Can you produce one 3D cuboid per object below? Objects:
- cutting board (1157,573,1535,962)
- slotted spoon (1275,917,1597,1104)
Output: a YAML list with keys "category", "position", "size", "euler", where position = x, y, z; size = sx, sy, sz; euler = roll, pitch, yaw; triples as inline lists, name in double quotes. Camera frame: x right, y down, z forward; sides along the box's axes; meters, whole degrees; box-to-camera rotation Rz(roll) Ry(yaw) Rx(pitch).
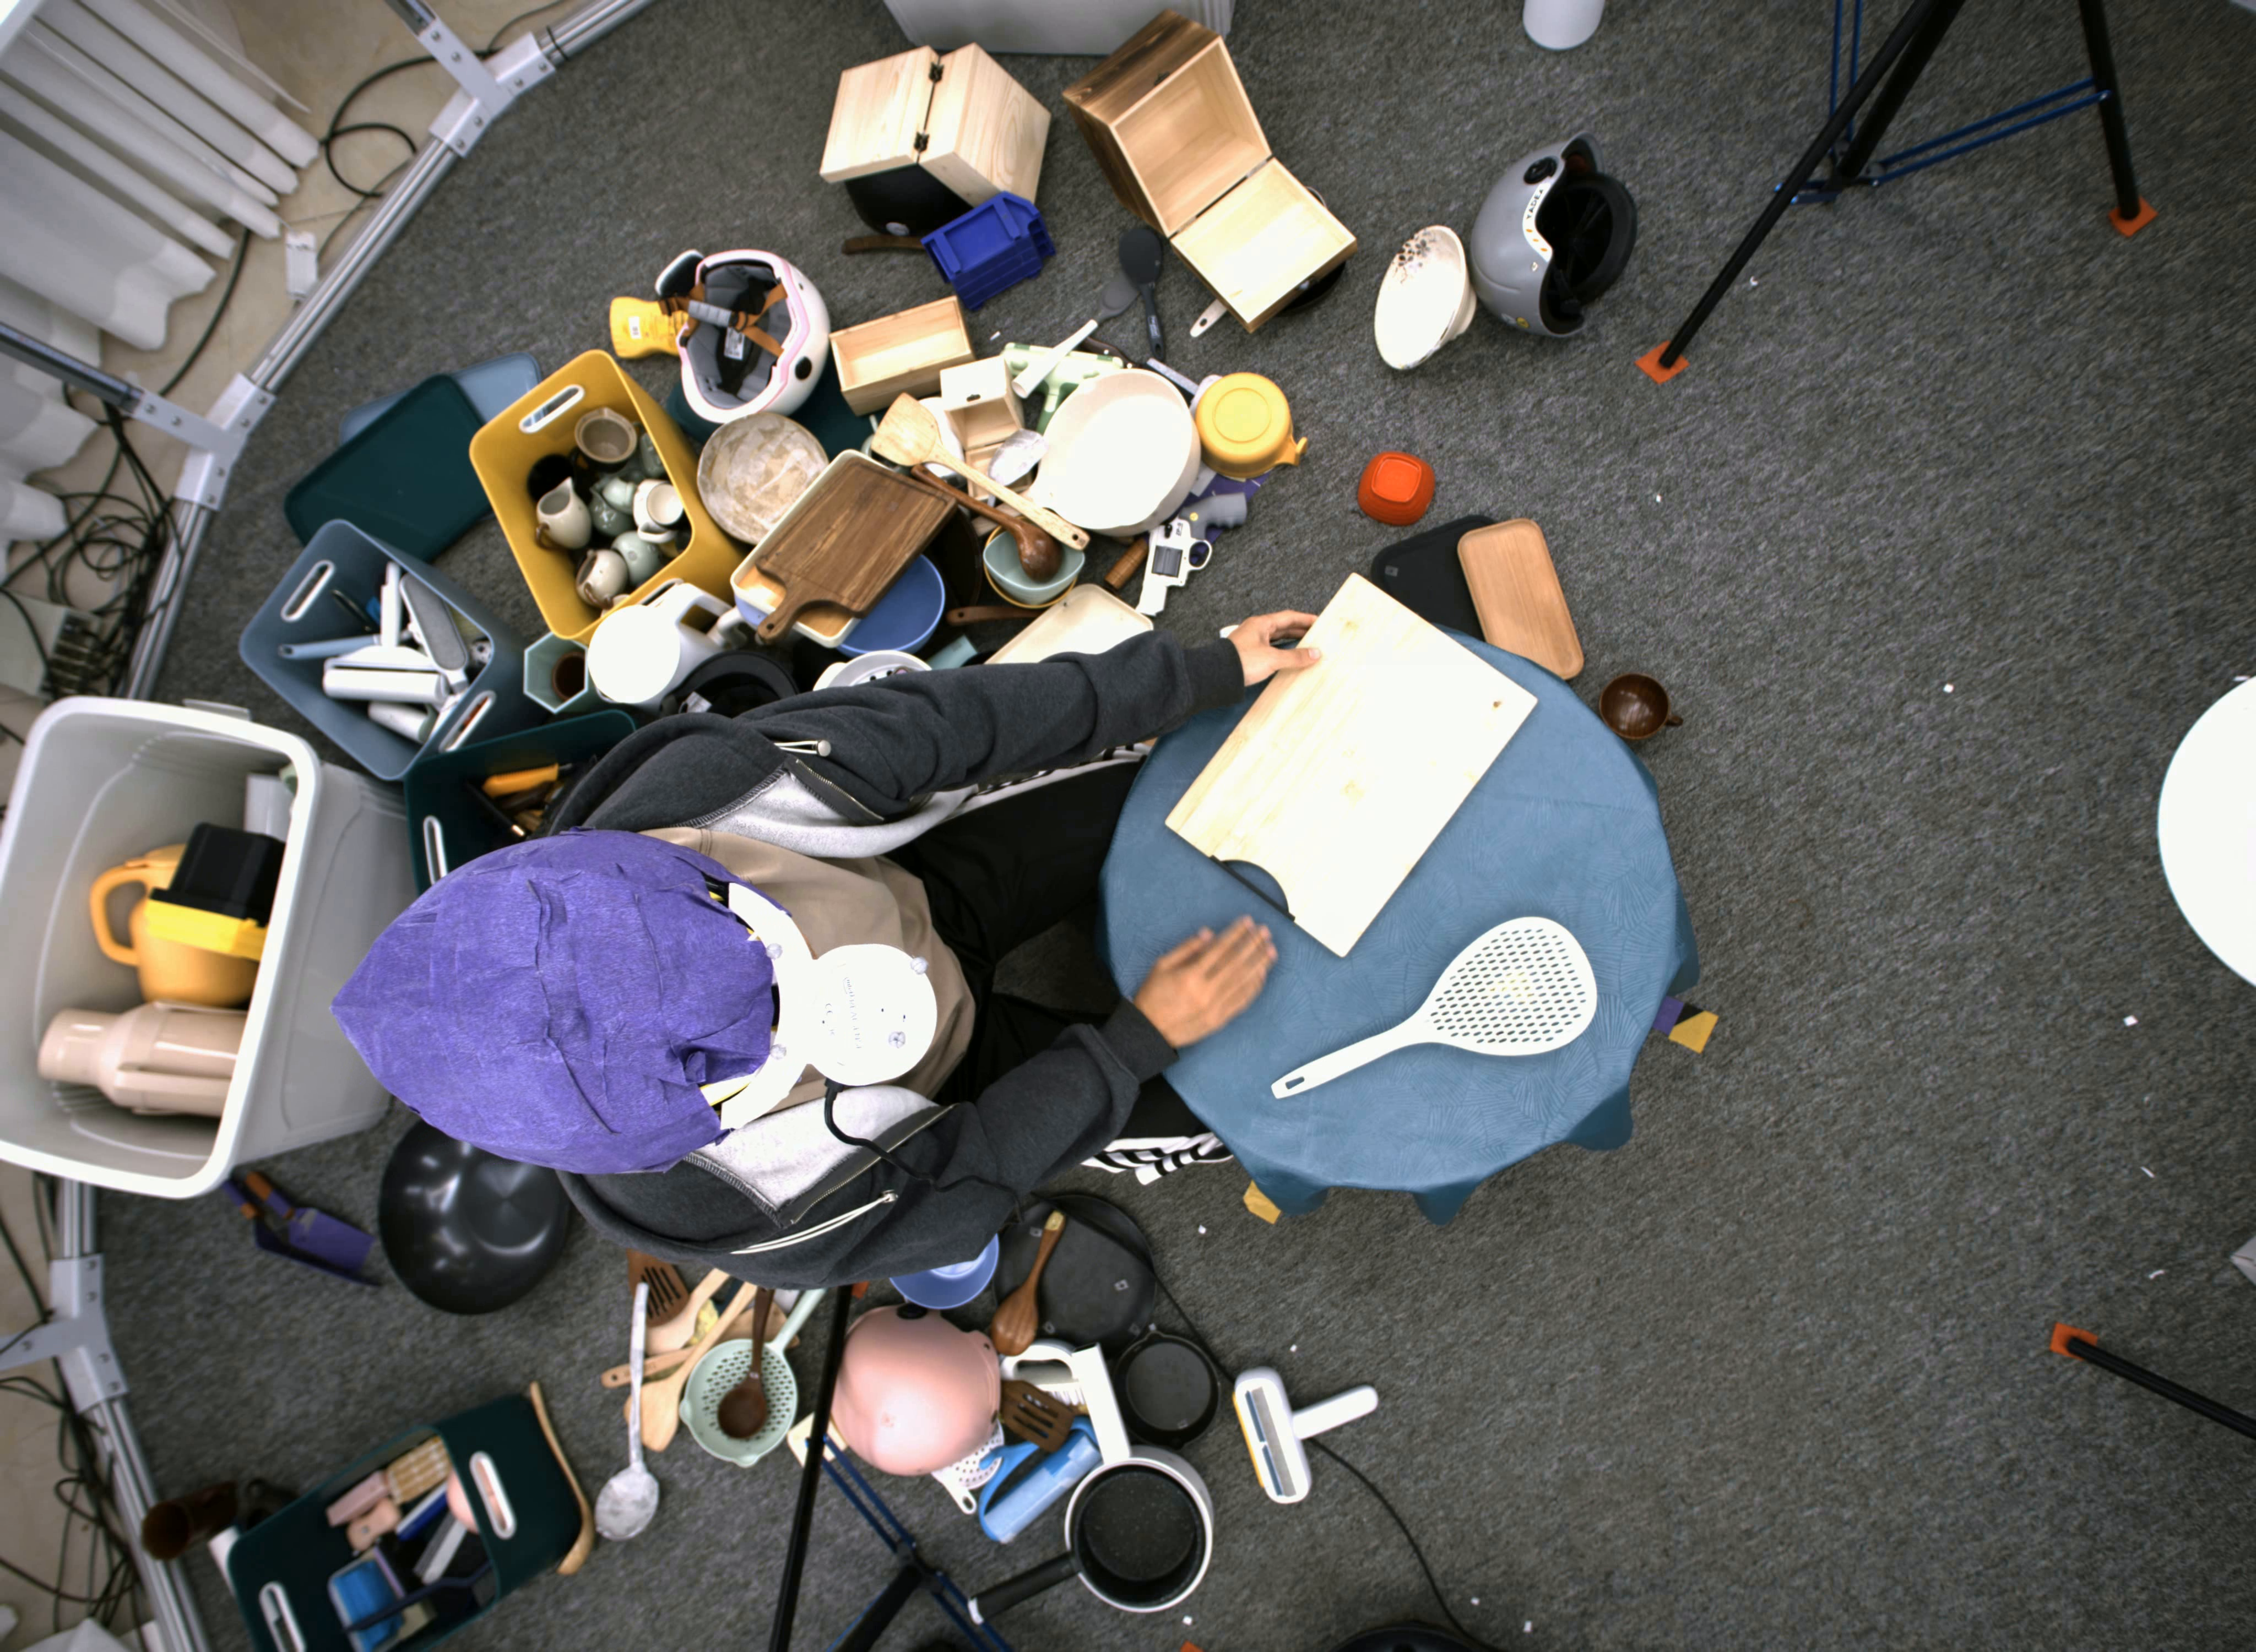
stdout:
- category: "cutting board"
  position: [0.231, -0.064, 1.465]
  size: [0.250, 0.023, 0.349]
  euler: [37, 94, 10]
- category: "slotted spoon"
  position: [0.308, 0.206, 1.424]
  size: [0.350, 0.050, 0.136]
  euler: [-25, 85, 8]
